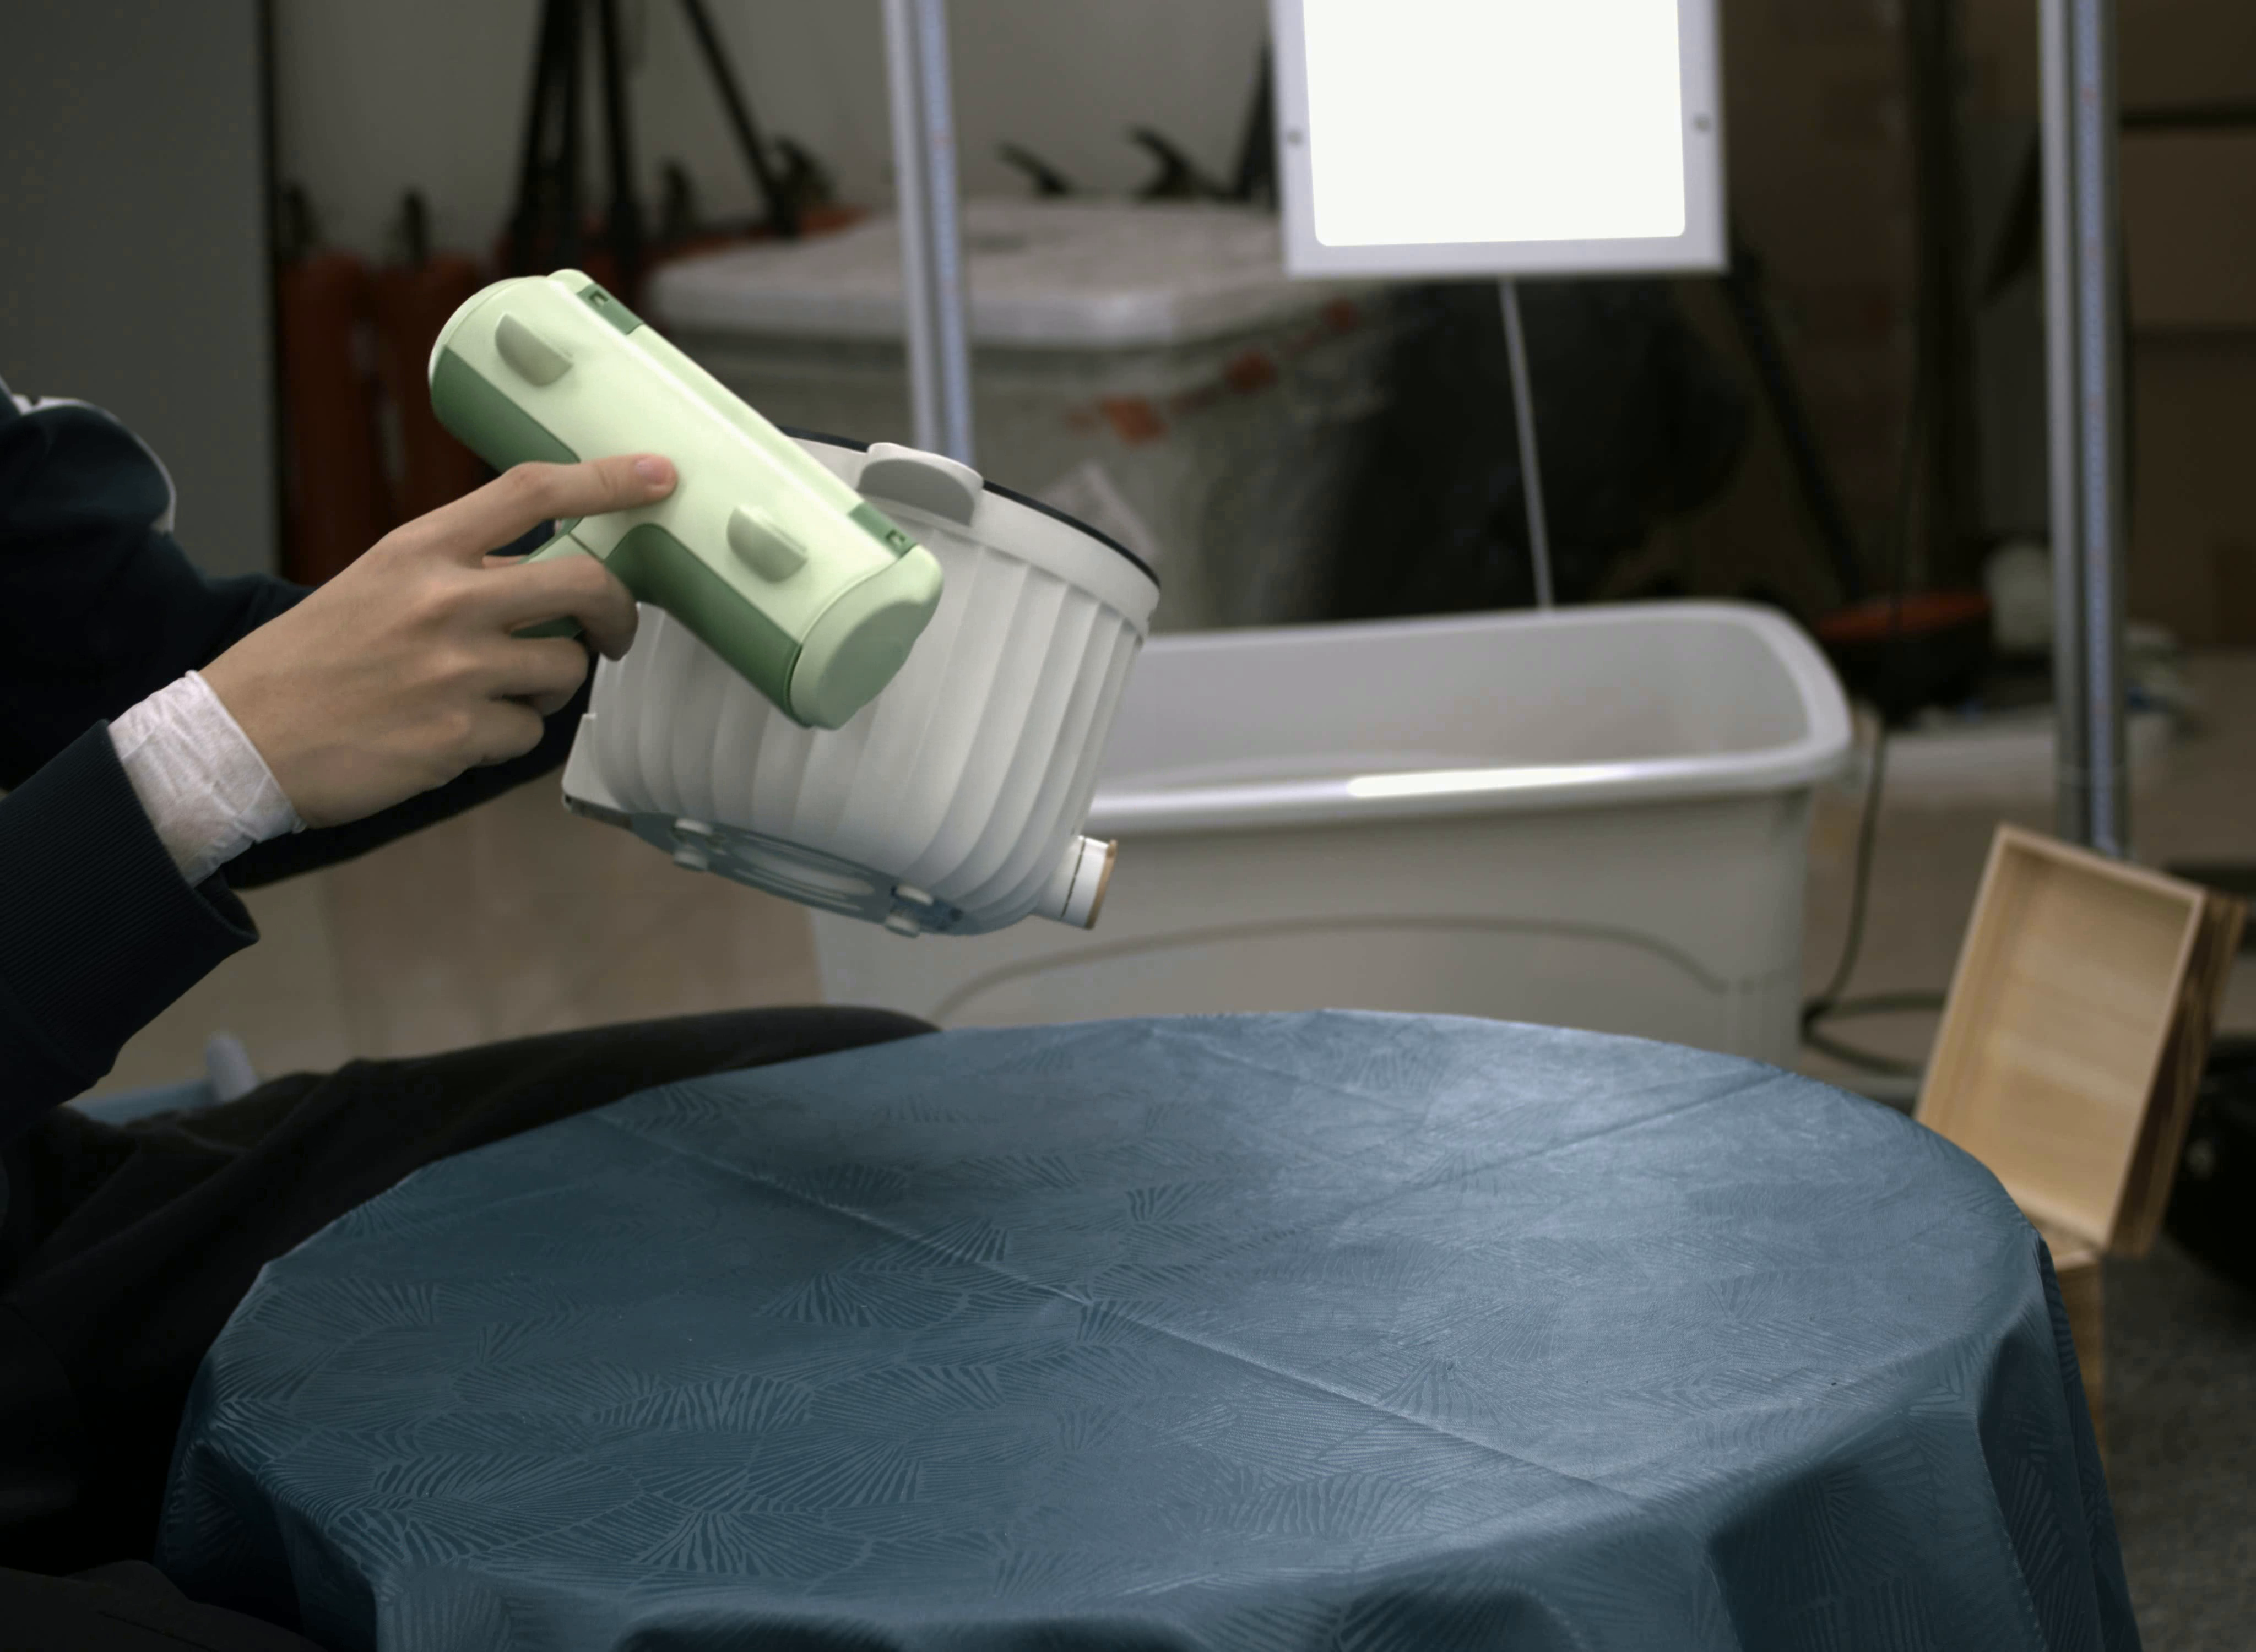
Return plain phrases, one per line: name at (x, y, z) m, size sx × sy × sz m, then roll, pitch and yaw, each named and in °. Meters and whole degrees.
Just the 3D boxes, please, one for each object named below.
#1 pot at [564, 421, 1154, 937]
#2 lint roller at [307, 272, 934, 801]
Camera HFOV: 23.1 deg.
pot at (-0.089, -0.043, 1.904) m, size 0.189 × 0.142 × 0.241 m, roll 14°, pitch -9°, yaw -3°
lint roller at (-0.190, -0.080, 1.752) m, size 0.180 × 0.082 × 0.201 m, roll -36°, pitch 59°, yaw -23°
